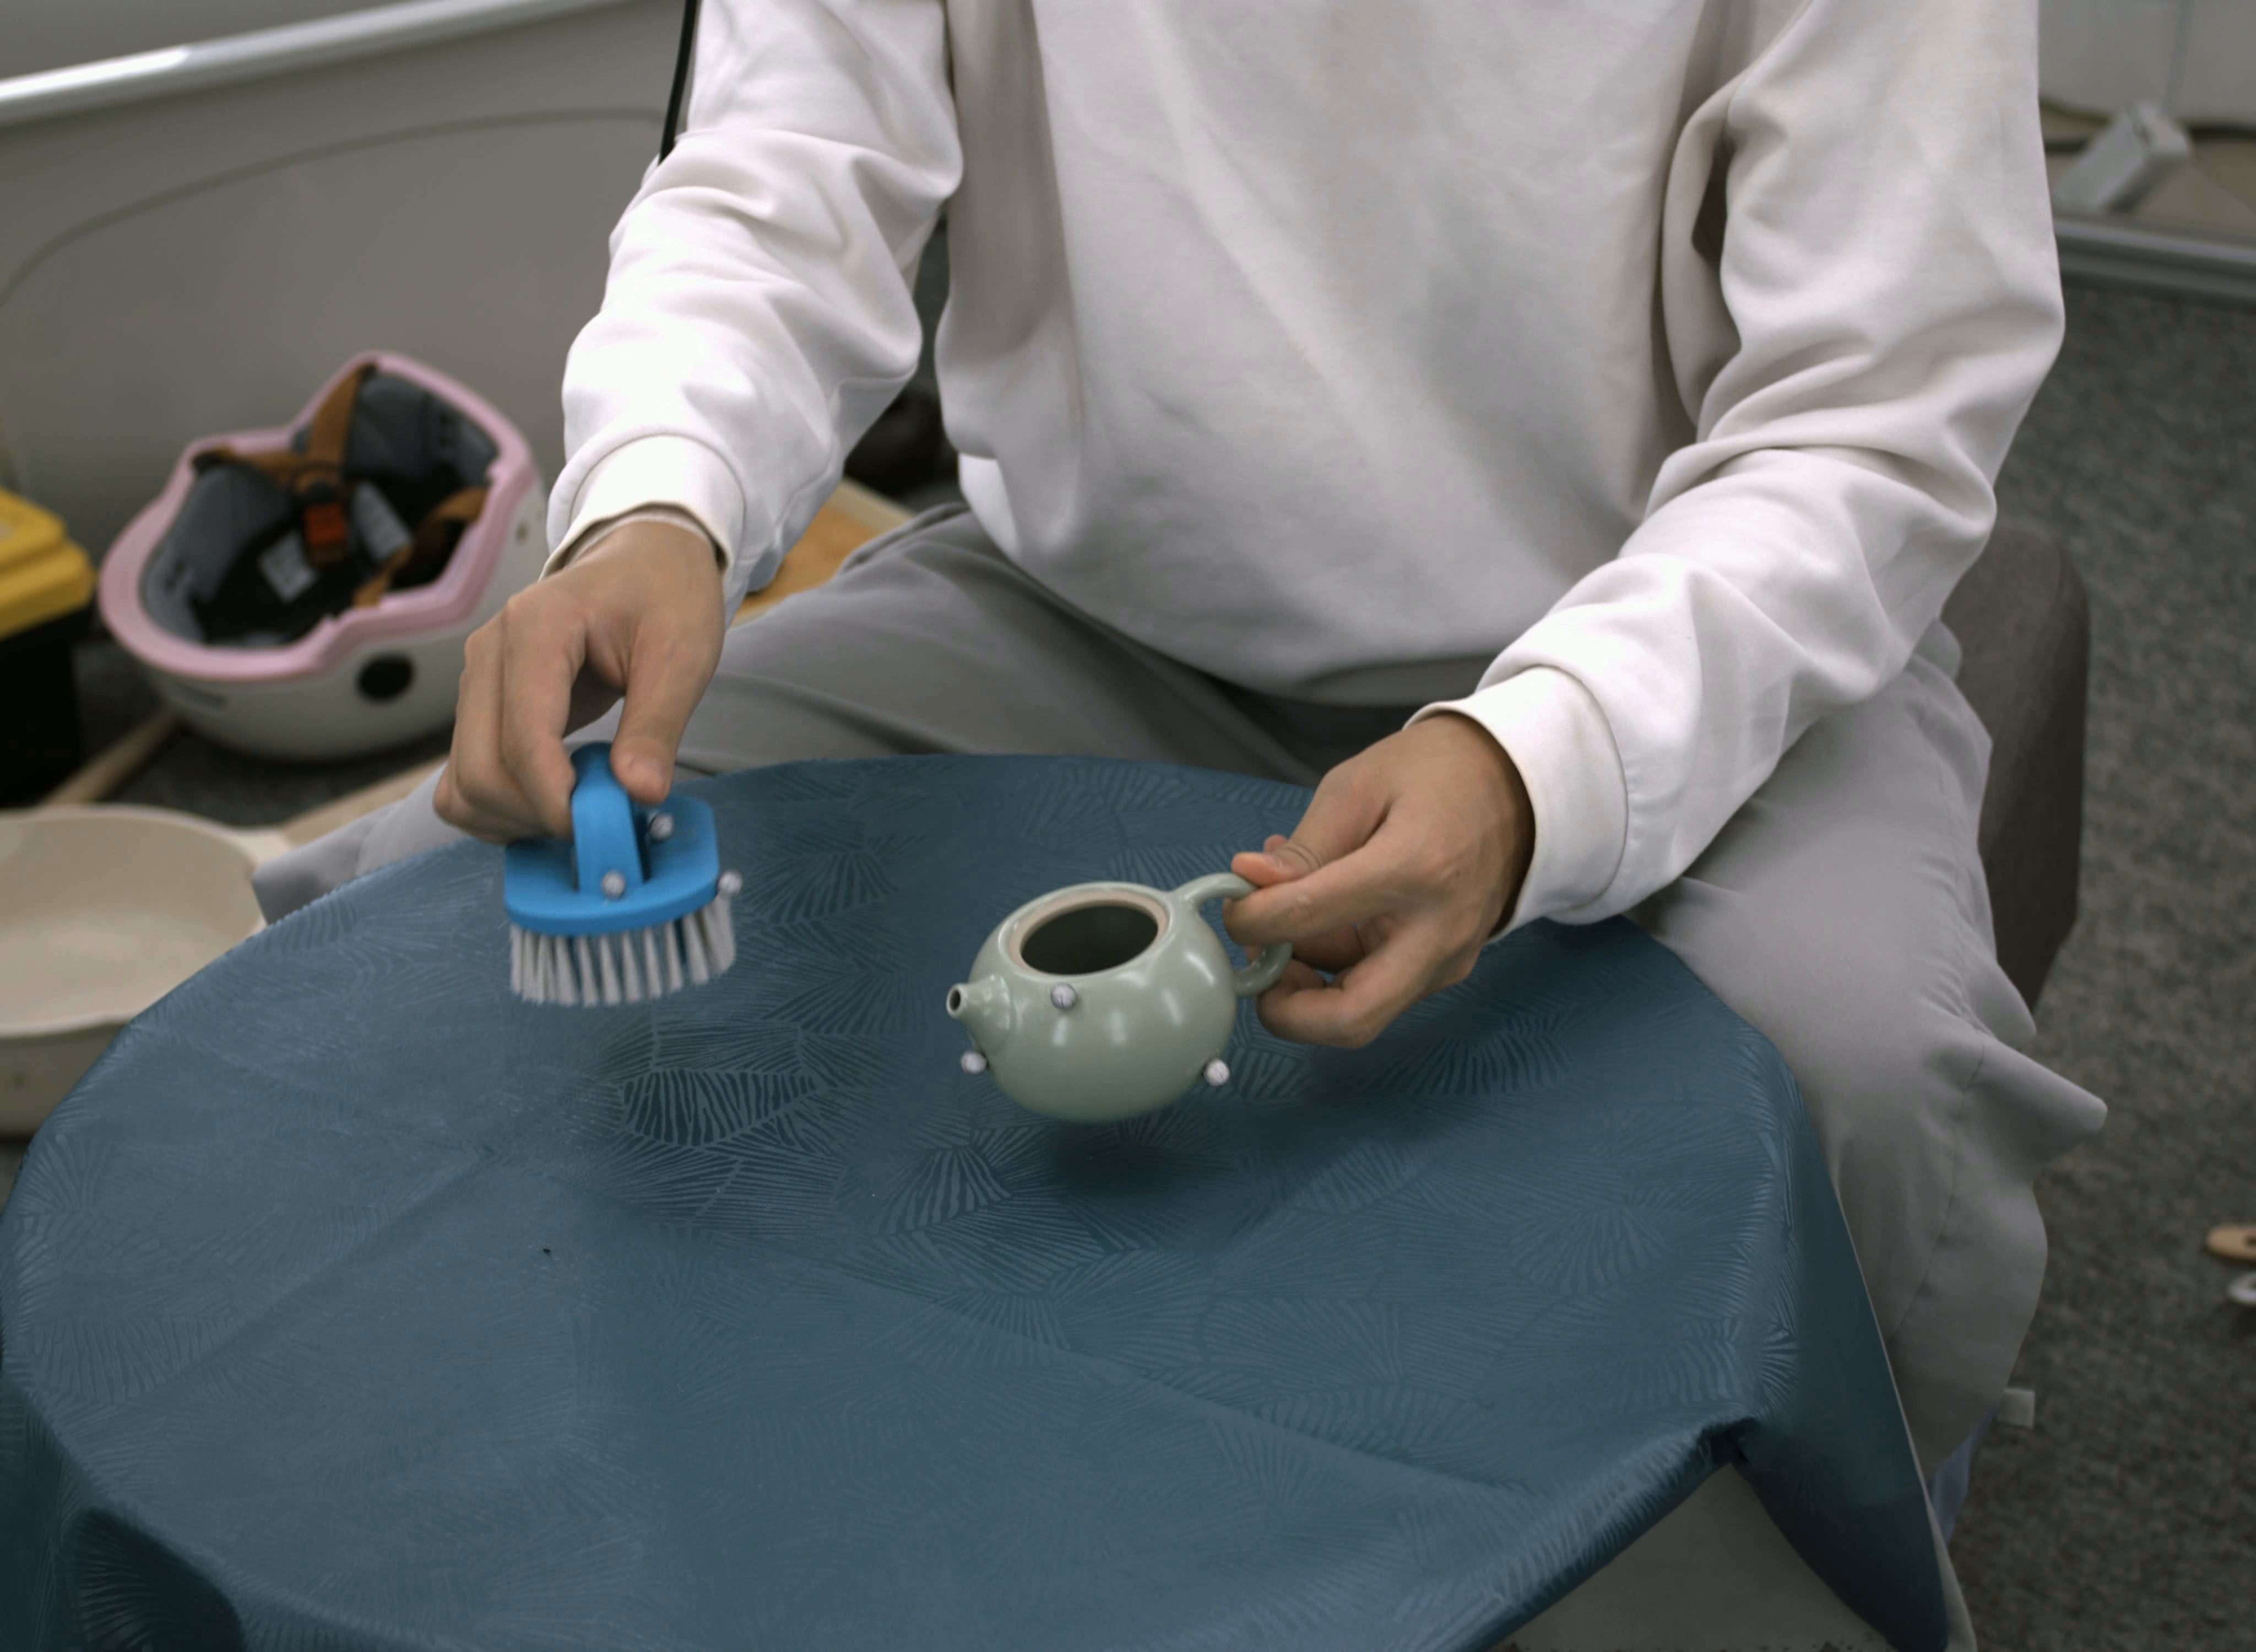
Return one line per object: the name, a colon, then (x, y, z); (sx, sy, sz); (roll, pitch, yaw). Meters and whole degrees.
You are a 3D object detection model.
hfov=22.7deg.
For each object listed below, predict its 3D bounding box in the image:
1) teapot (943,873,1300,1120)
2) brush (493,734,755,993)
teapot: (0.000, 0.055, 1.878); (0.129, 0.060, 0.092); (-20, 27, -19)
brush: (-0.175, 0.007, 1.904); (0.084, 0.063, 0.143); (-13, 15, -3)
